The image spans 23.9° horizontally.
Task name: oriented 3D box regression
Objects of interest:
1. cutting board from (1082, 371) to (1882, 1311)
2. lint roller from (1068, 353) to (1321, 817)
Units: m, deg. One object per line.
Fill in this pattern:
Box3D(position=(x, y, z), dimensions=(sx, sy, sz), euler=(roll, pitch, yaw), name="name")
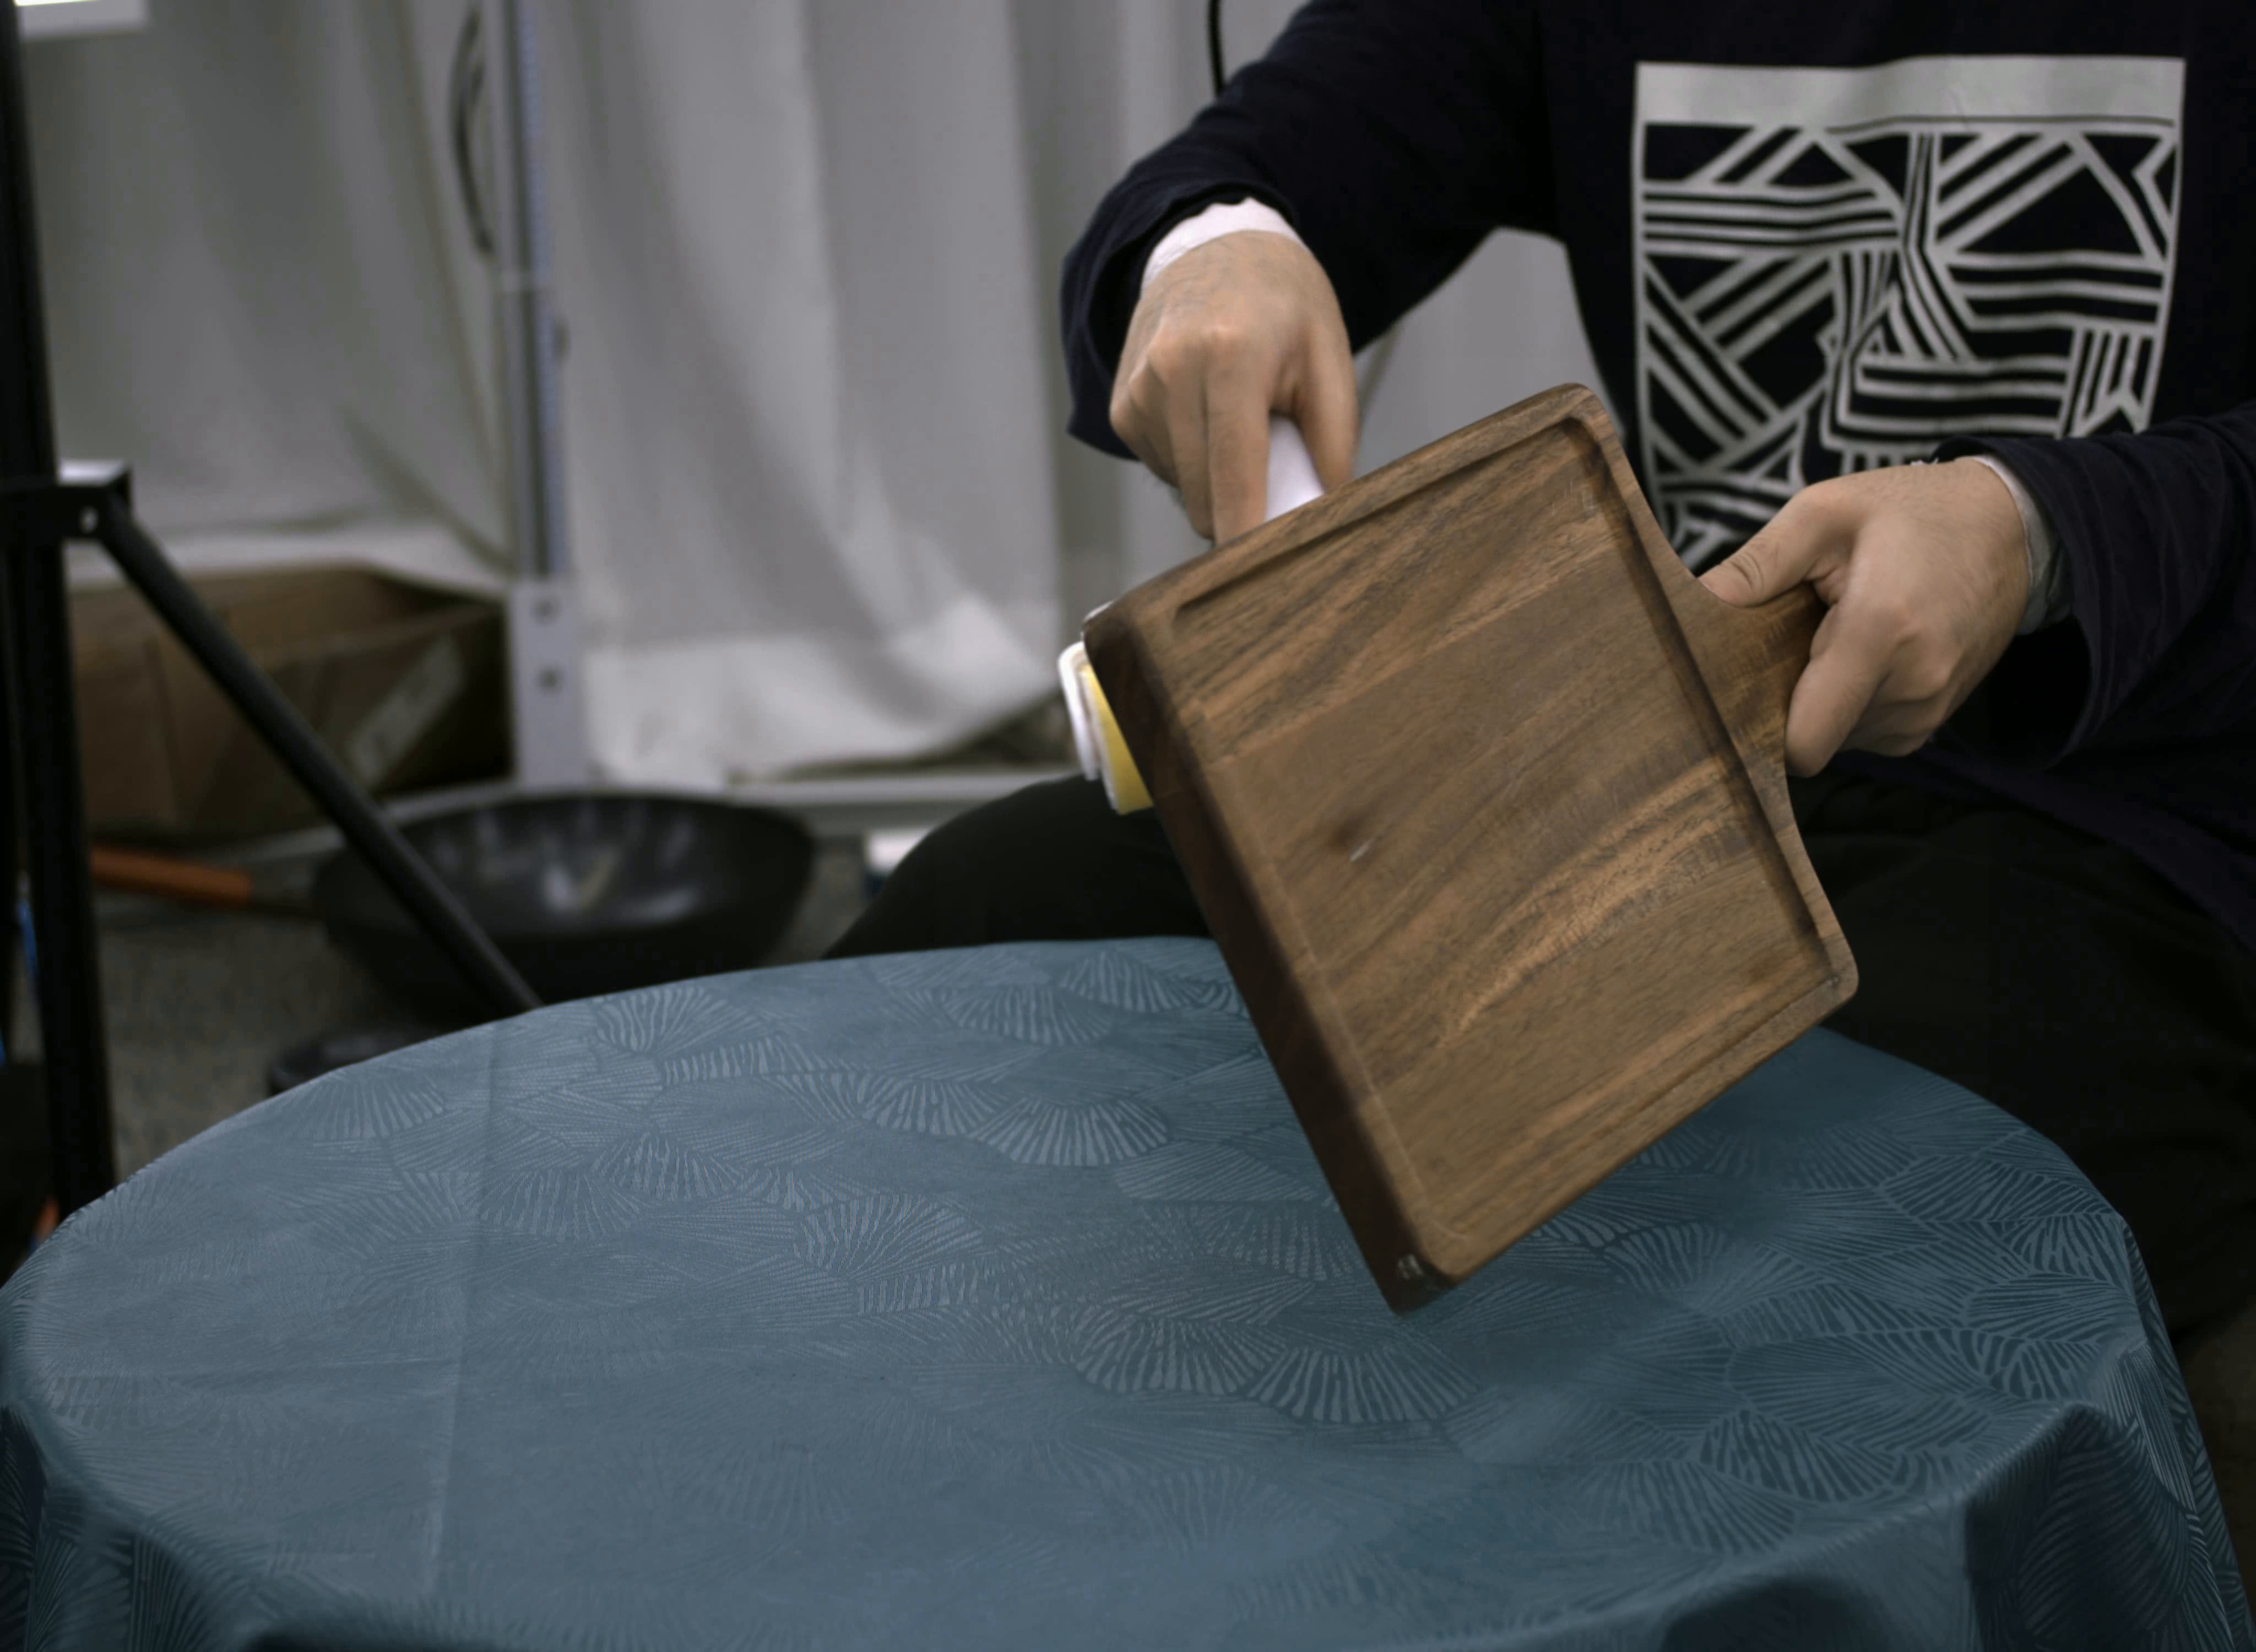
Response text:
Box3D(position=(0.125, -0.017, 1.466), dimensions=(0.023, 0.201, 0.346), euler=(-24, 2, 38), name="cutting board")
Box3D(position=(0.052, -0.095, 1.688), dimensions=(0.173, 0.051, 0.195), euler=(-15, 50, -4), name="lint roller")
